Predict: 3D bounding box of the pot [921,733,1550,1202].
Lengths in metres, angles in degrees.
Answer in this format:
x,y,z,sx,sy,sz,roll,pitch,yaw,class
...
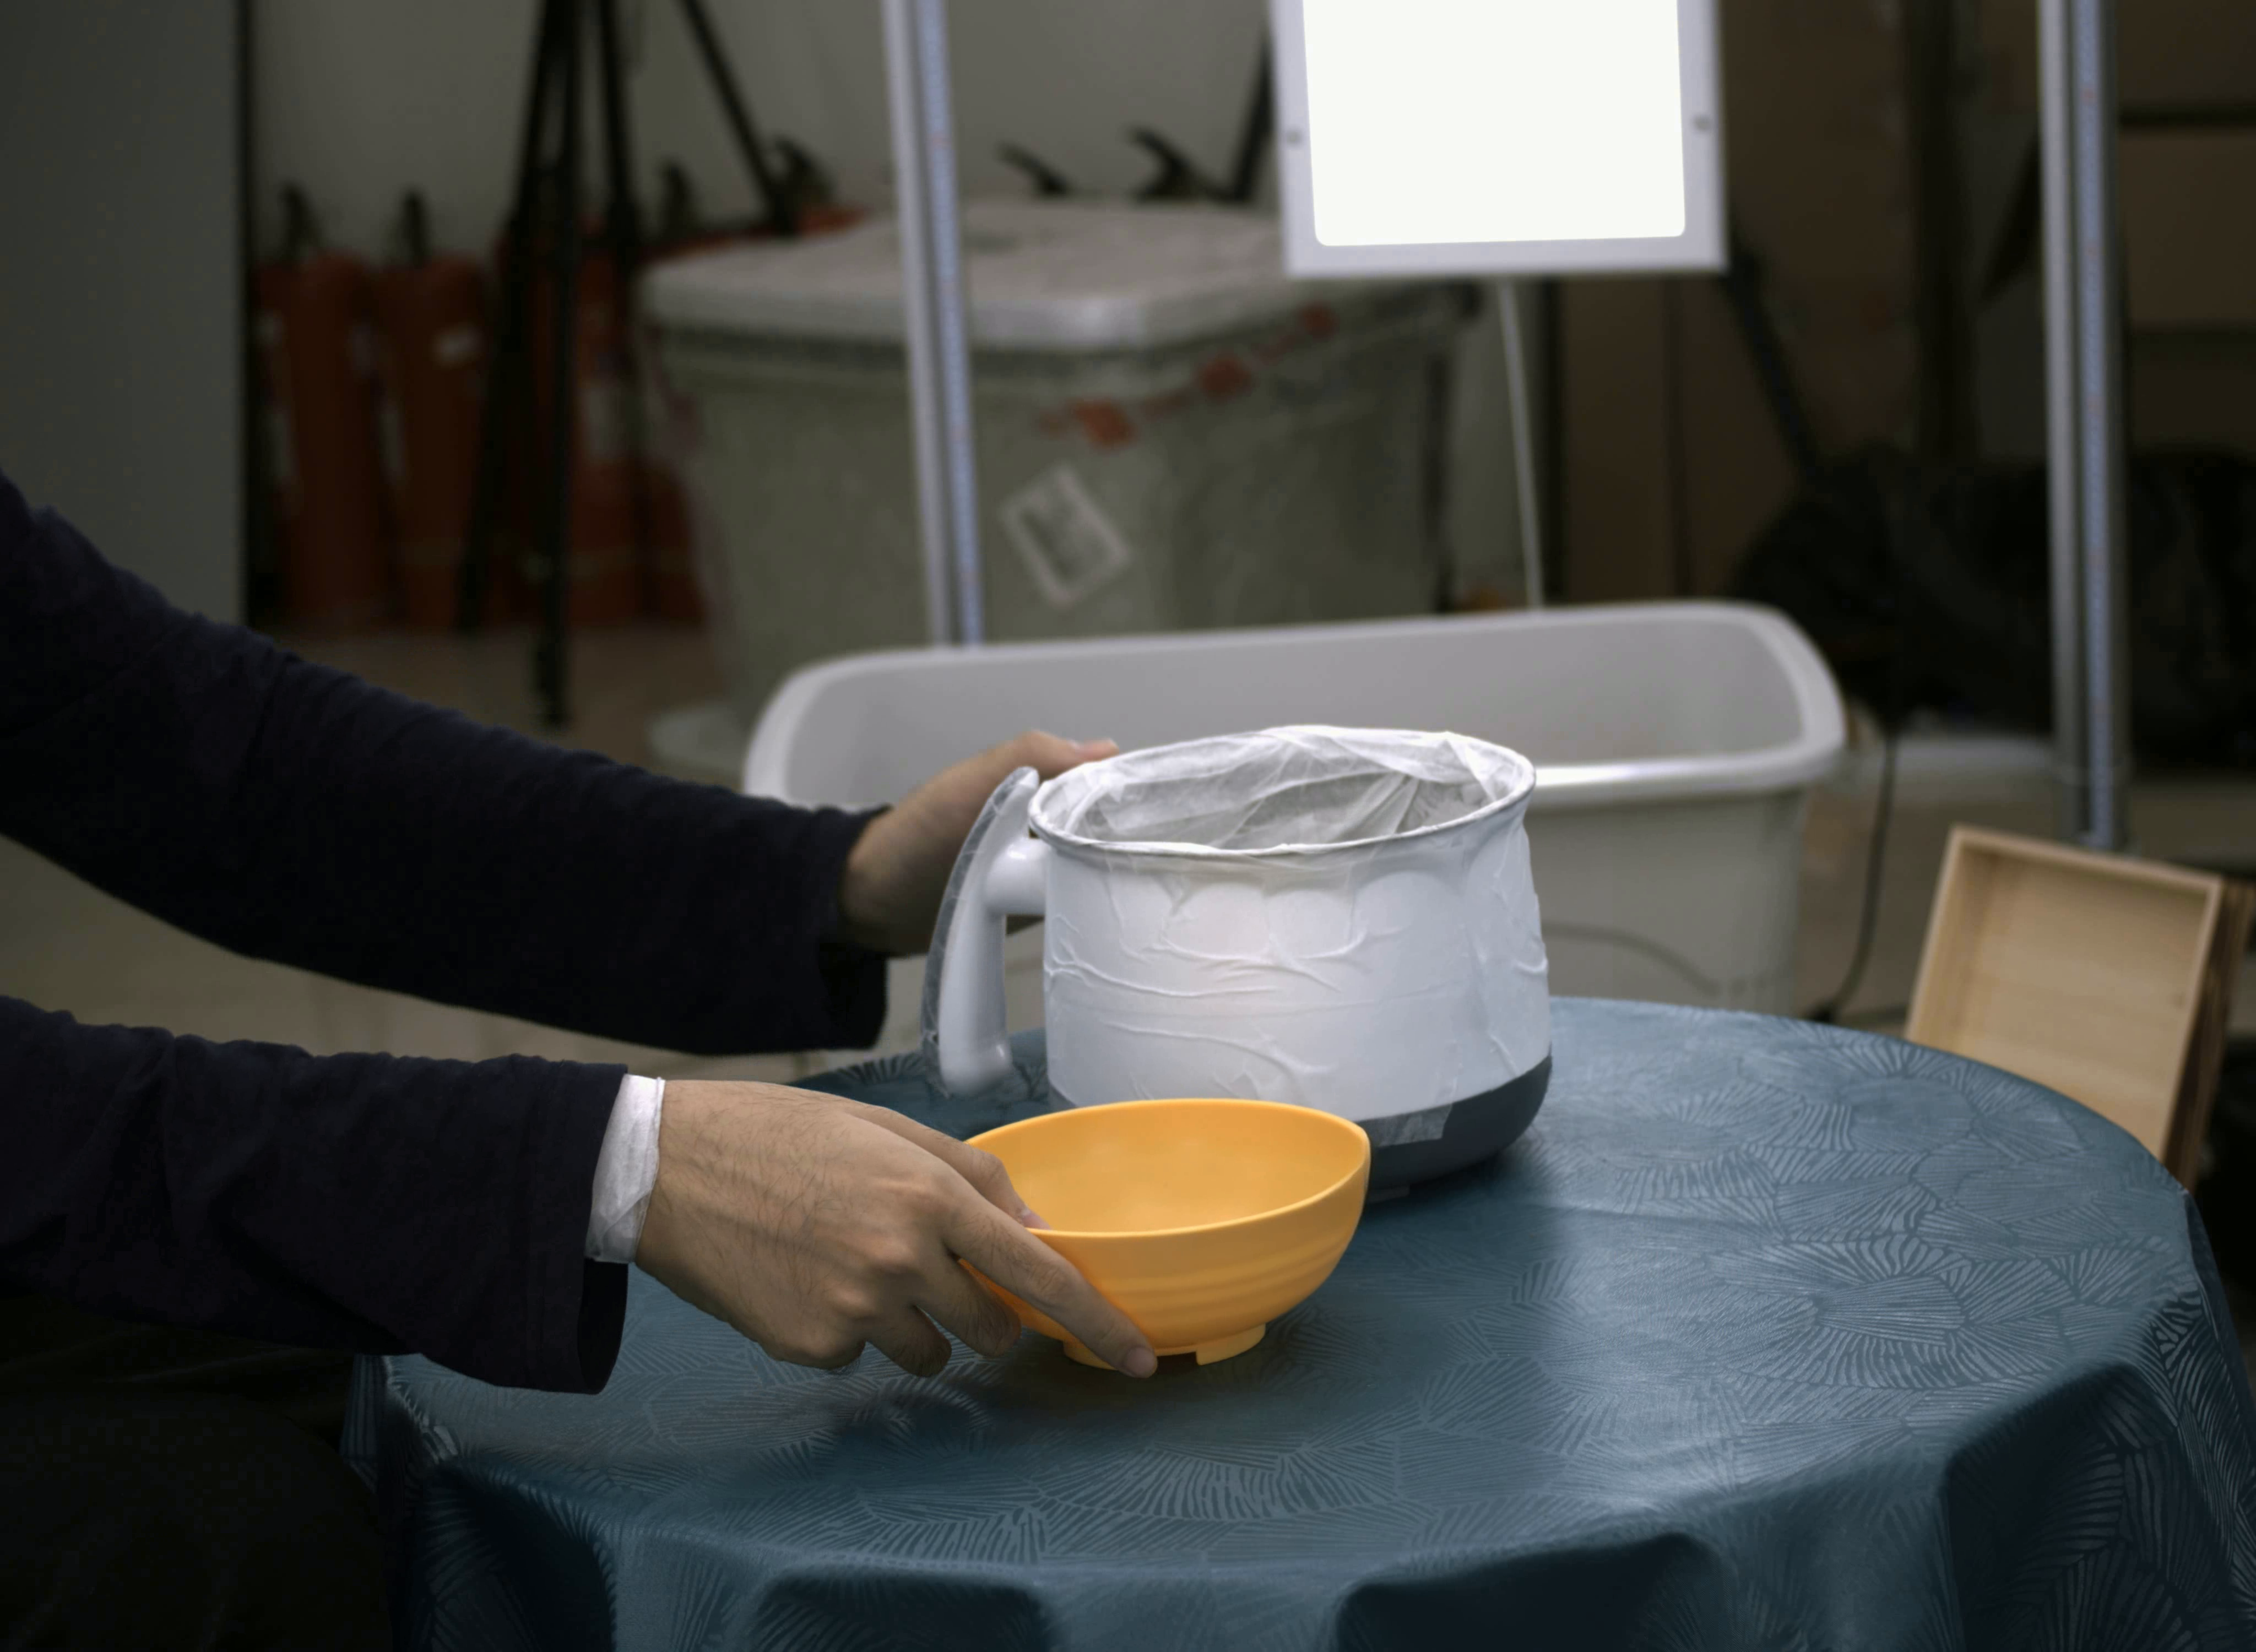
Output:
x,y,z,sx,sy,sz,roll,pitch,yaw,class
0.033,0.046,1.927,0.237,0.137,0.175,3,13,25,pot

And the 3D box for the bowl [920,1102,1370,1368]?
x,y,z,sx,sy,sz,roll,pitch,yaw,class
0.007,0.133,1.743,0.145,0.060,0.145,-4,12,0,bowl
